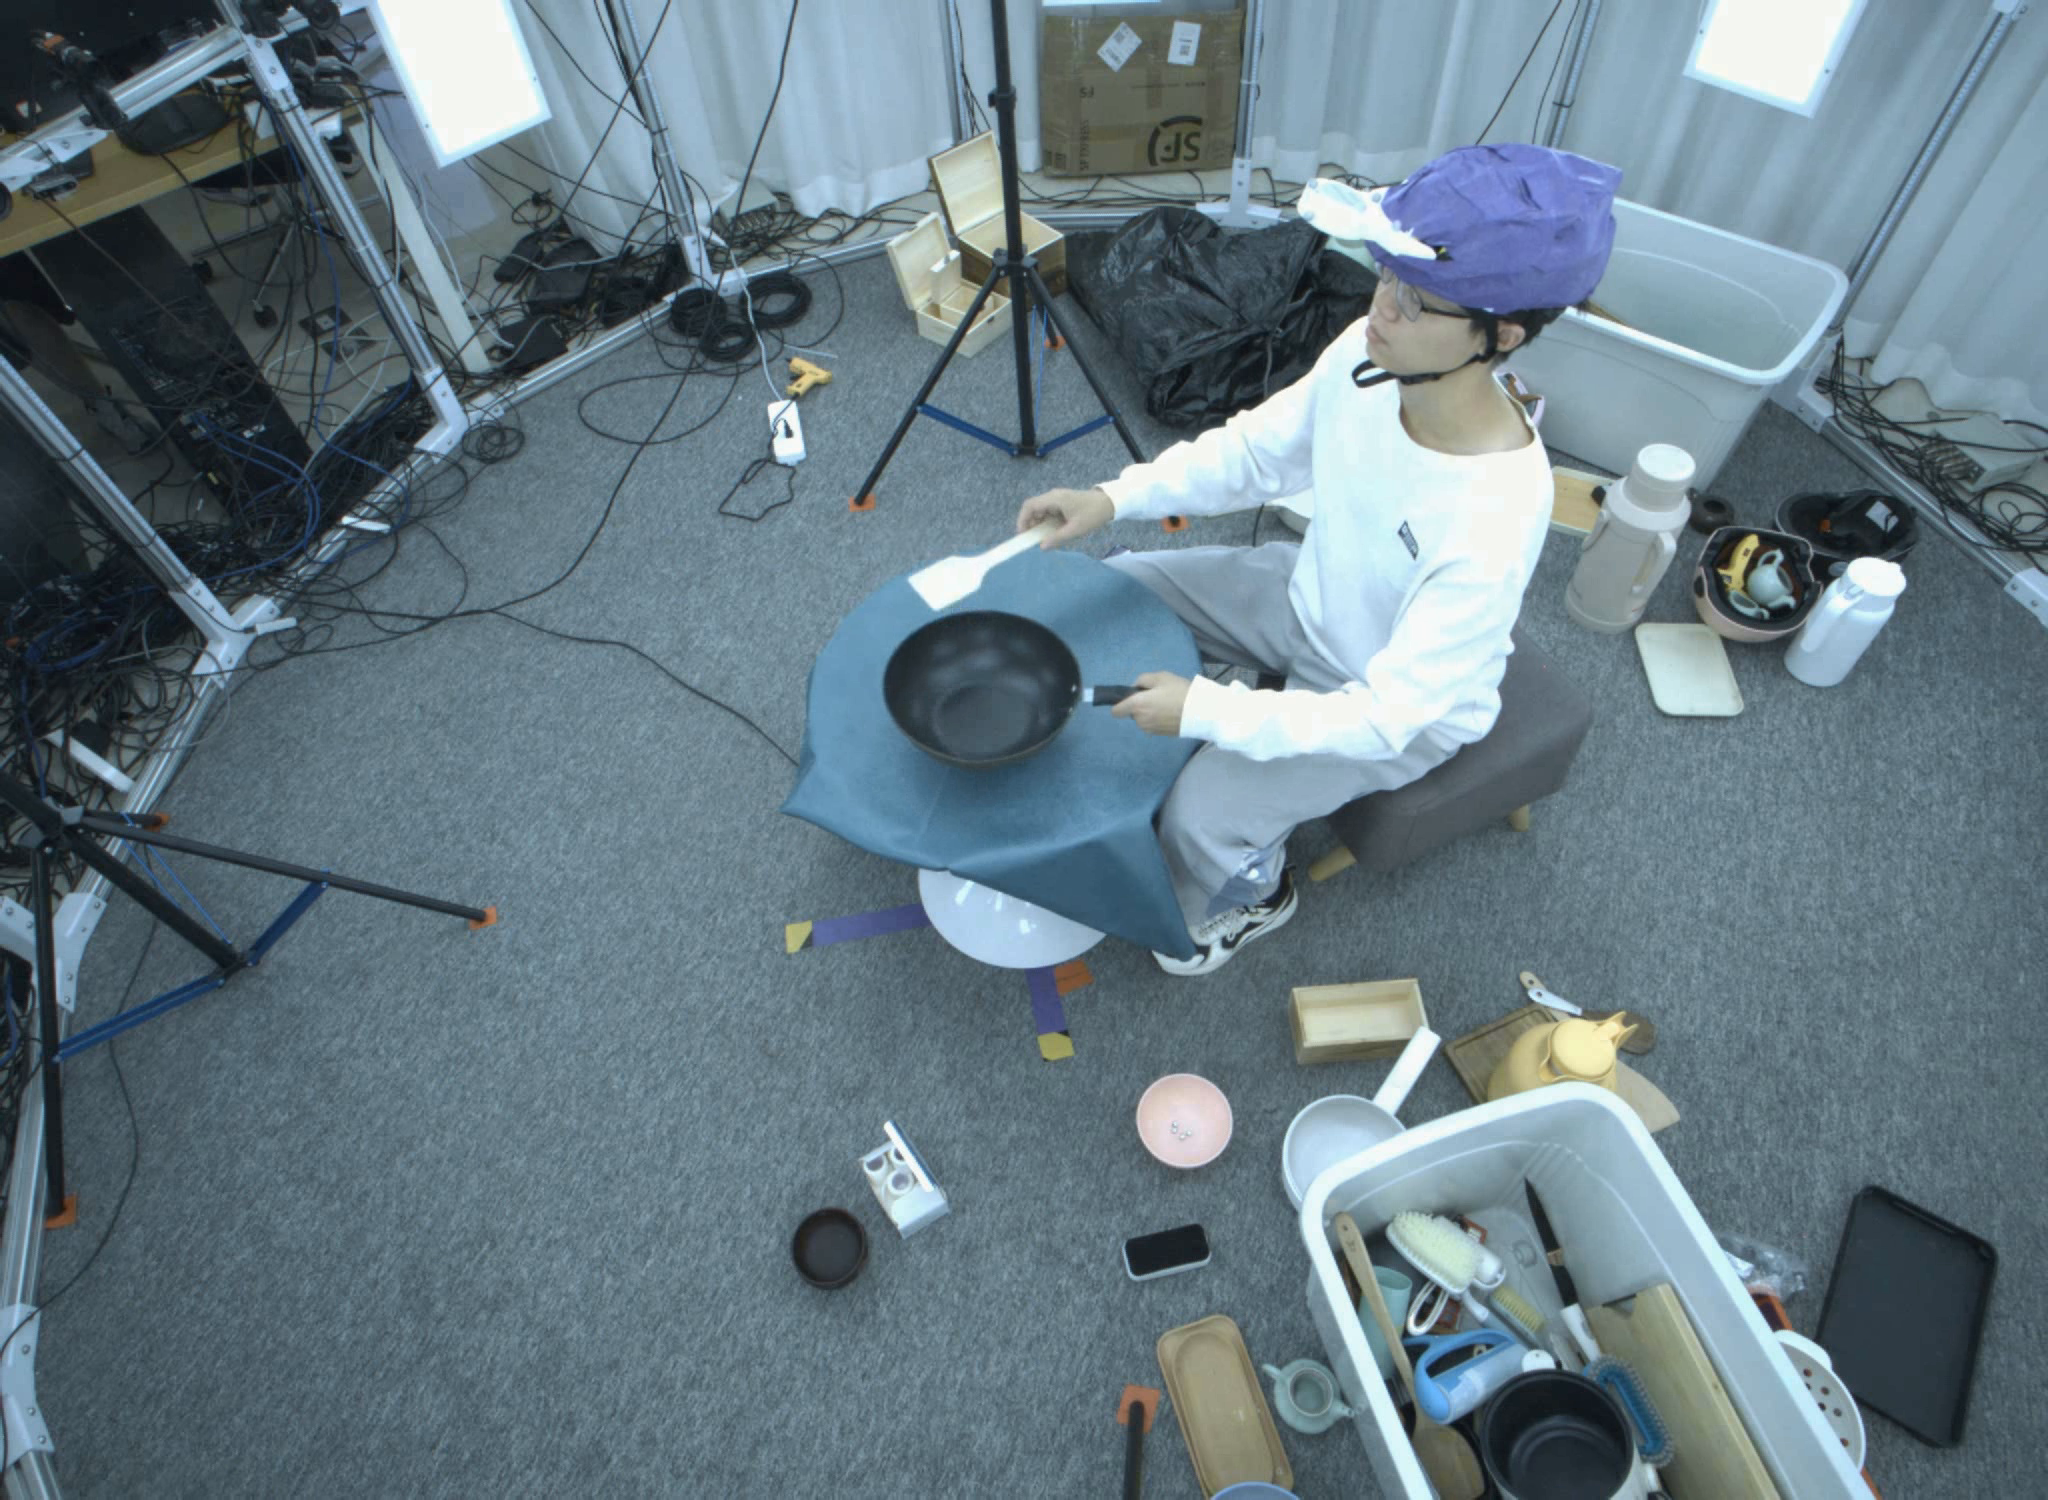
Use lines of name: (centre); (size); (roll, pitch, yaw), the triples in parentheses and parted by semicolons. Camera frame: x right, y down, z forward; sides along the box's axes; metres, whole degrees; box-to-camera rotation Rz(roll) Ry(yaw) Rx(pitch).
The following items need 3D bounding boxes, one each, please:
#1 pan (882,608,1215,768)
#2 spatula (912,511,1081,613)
pan: (0.033, -0.066, 1.731); (0.463, 0.087, 0.286); (5, 52, 2)
spatula: (-0.032, -0.285, 1.792); (0.296, 0.010, 0.071); (-33, 72, -27)
